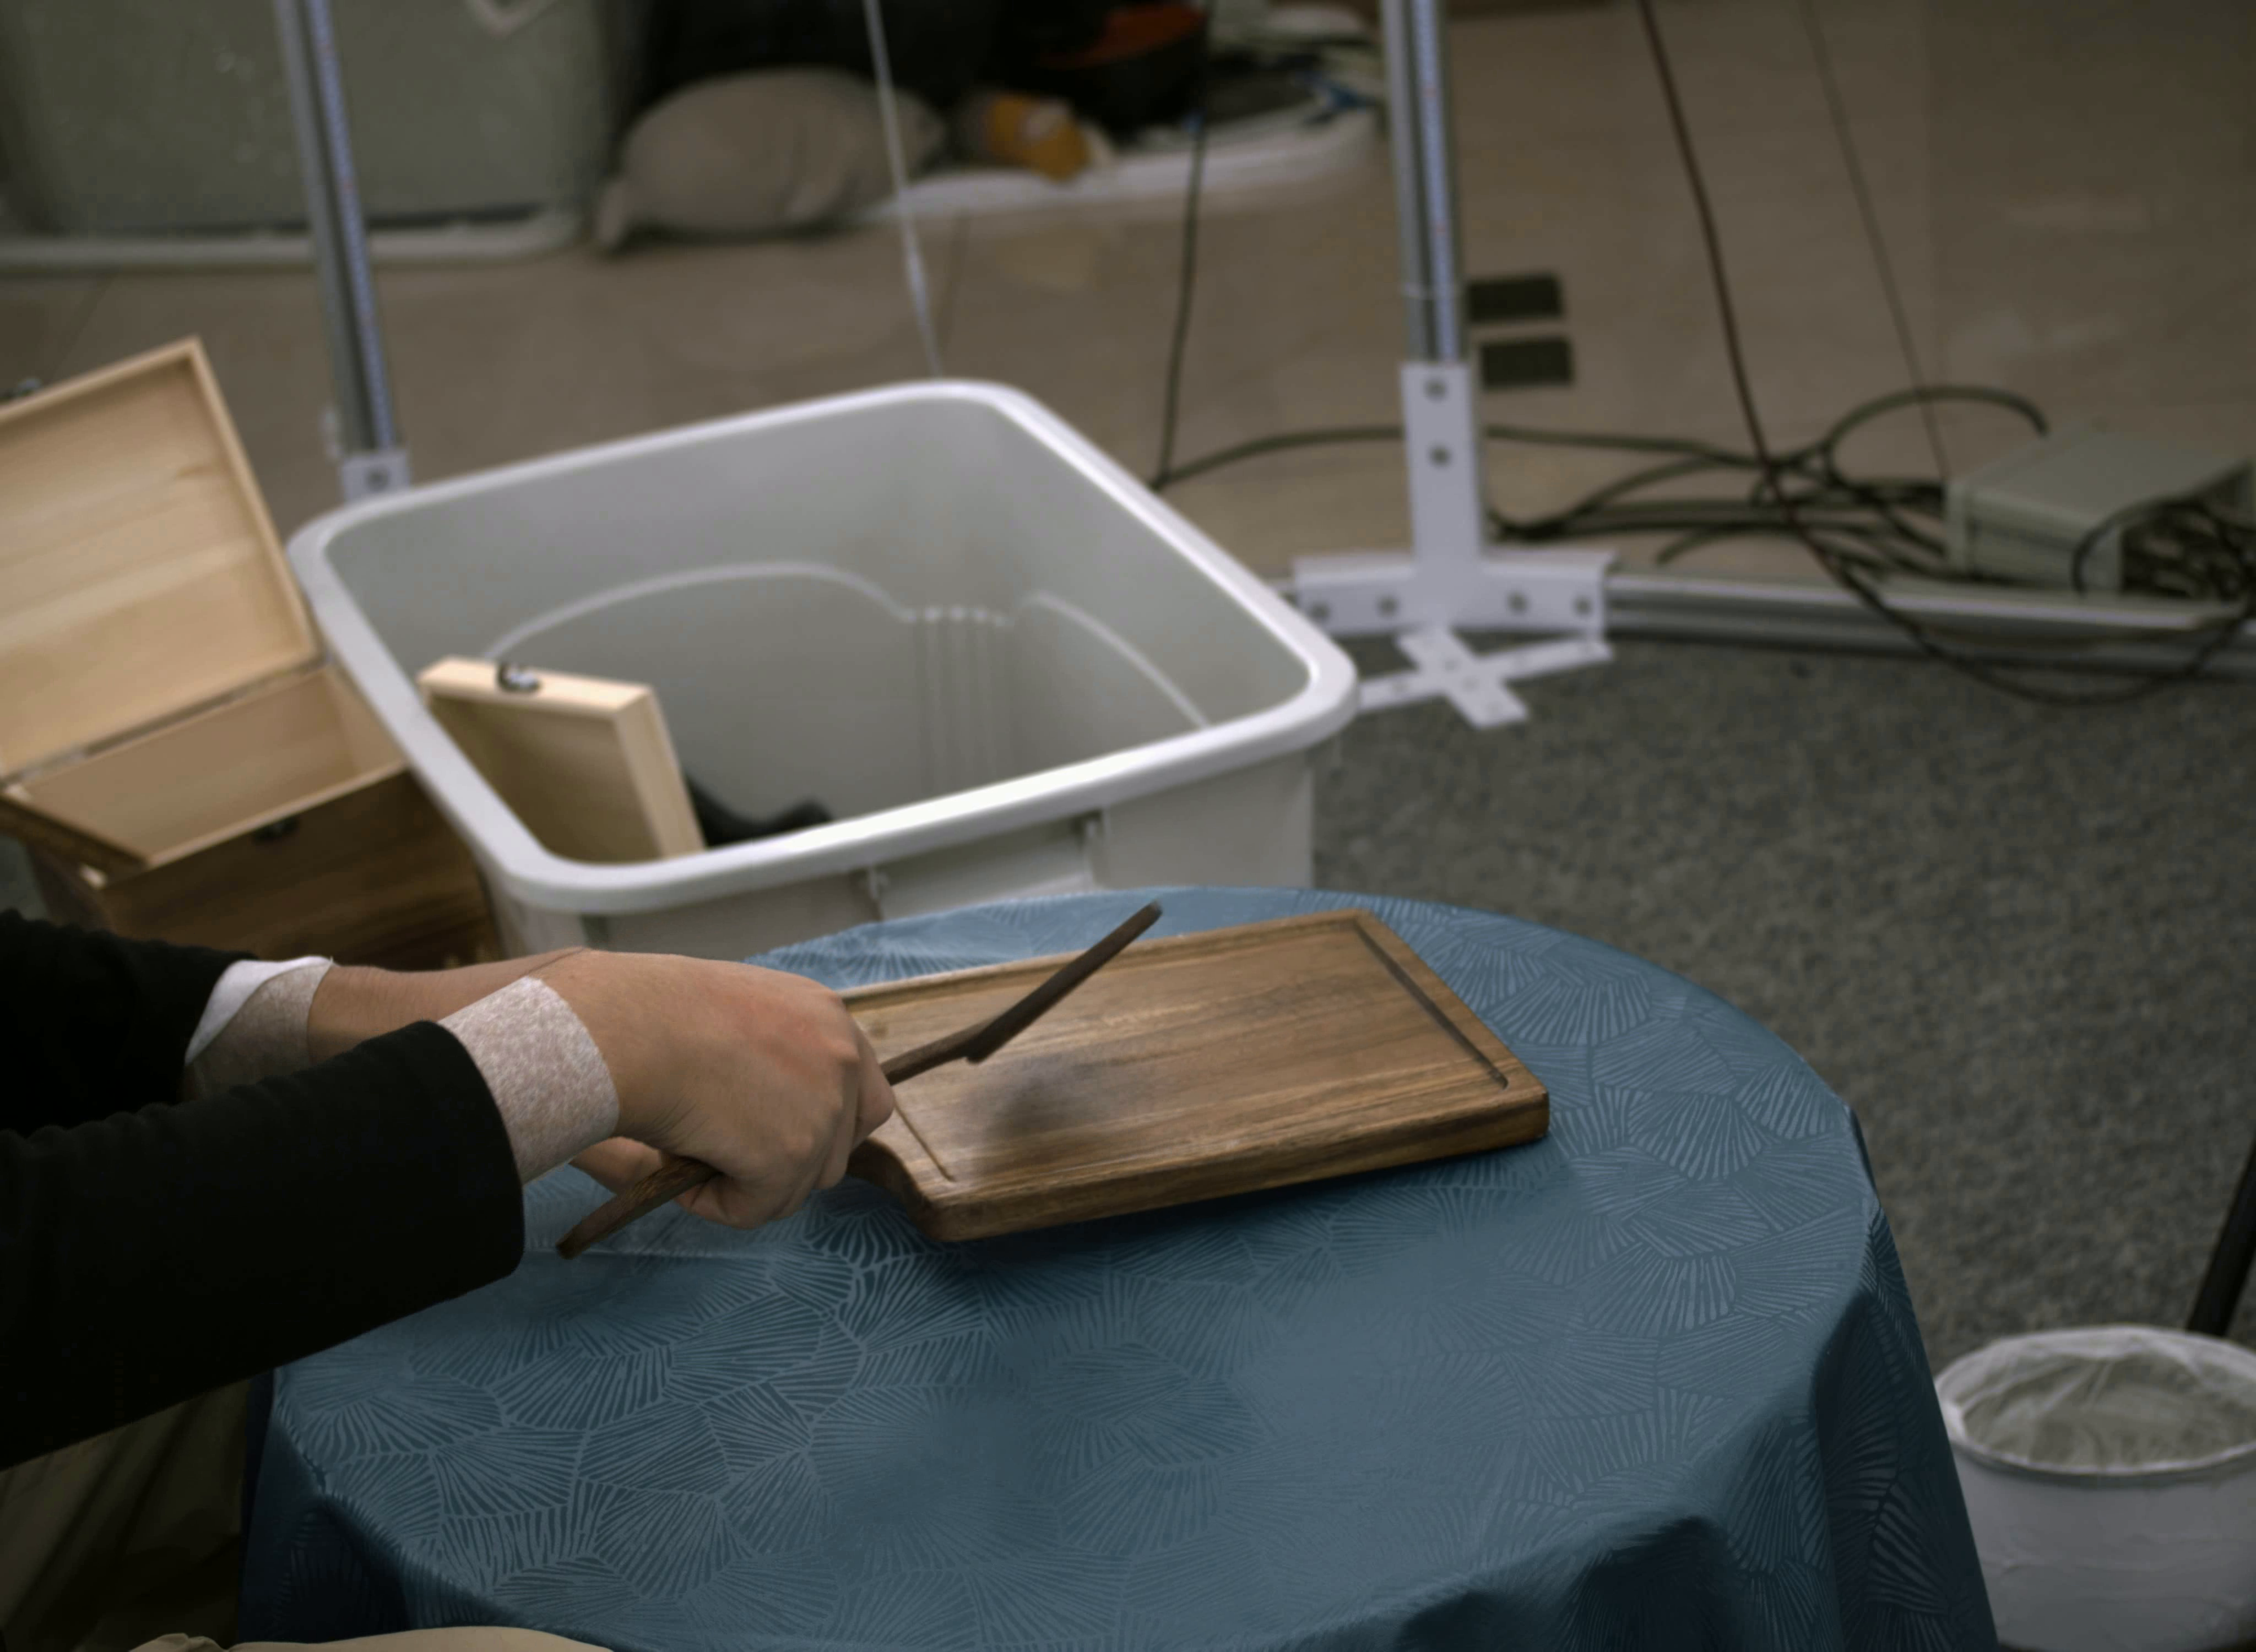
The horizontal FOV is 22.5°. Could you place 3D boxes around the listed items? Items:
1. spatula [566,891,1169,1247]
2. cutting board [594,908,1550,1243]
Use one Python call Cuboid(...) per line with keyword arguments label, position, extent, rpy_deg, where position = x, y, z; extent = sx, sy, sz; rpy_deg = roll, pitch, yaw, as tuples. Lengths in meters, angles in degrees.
Cuboid(label="spatula", position=(-0.093, 0.090, 2.015), extent=(0.097, 0.016, 0.383), rpy_deg=(-41, -9, 29))
Cuboid(label="cutting board", position=(-0.034, 0.100, 2.180), extent=(0.351, 0.023, 0.198), rpy_deg=(-9, 24, -17))
